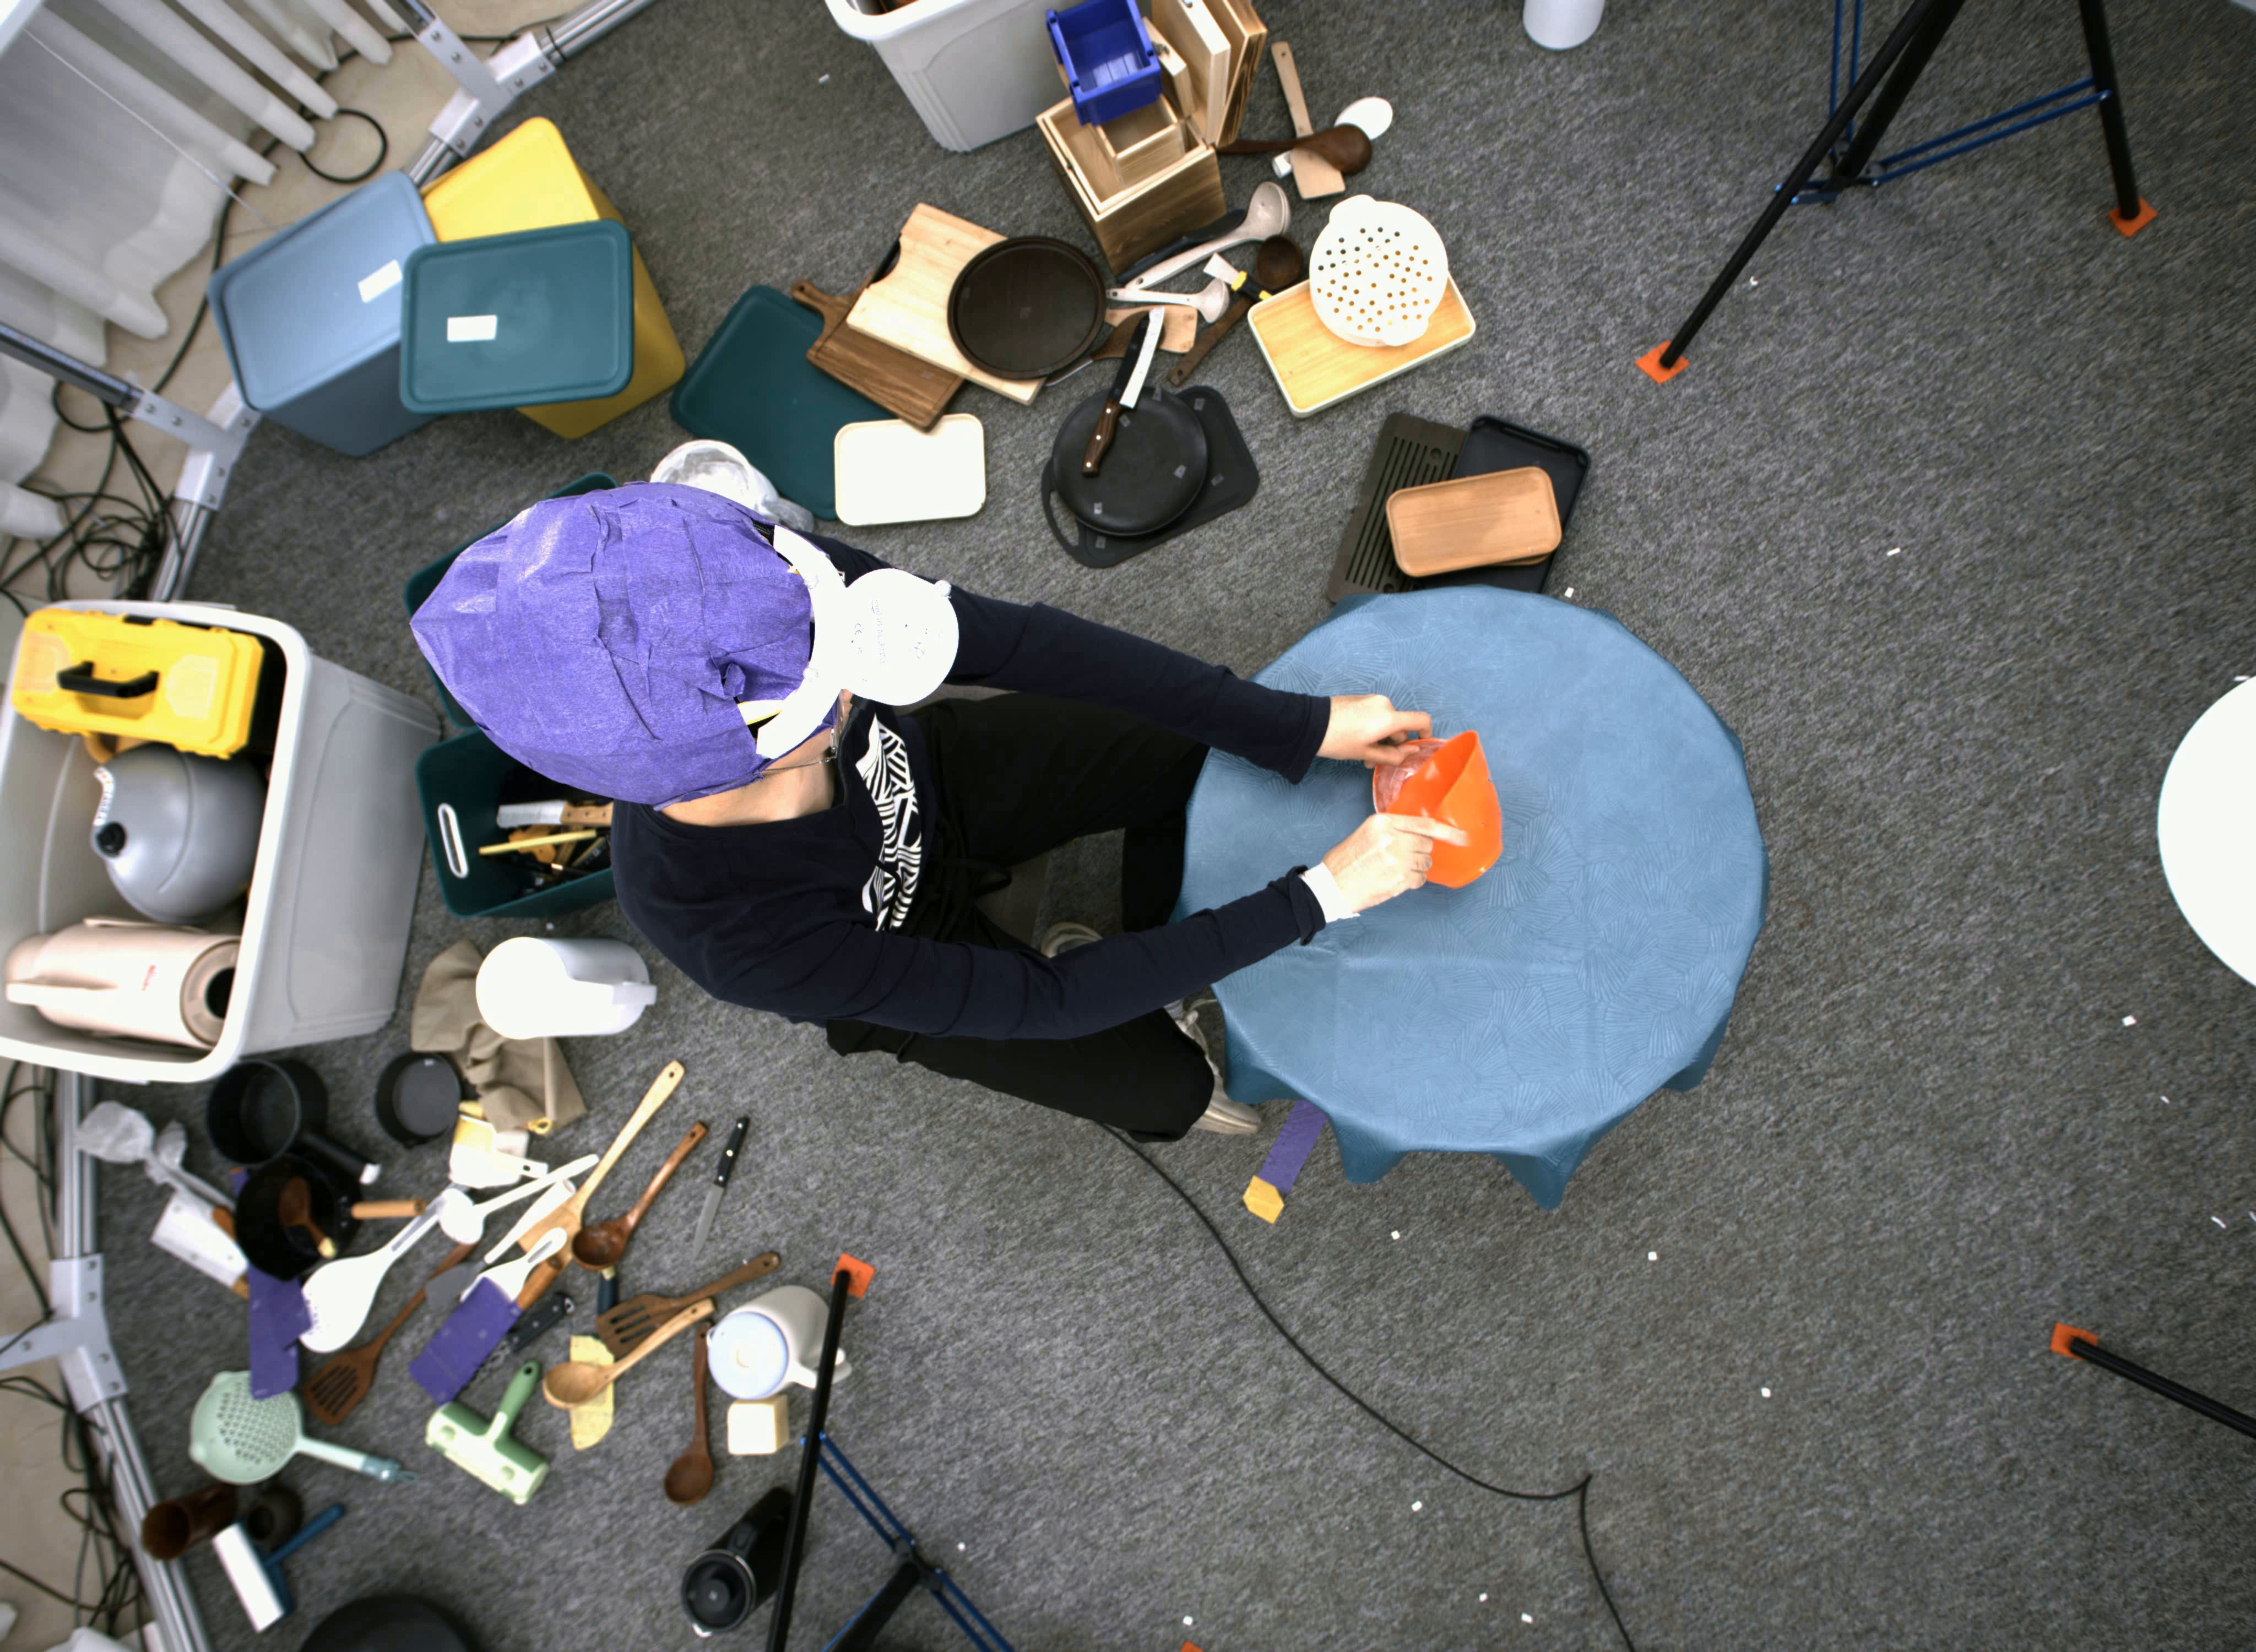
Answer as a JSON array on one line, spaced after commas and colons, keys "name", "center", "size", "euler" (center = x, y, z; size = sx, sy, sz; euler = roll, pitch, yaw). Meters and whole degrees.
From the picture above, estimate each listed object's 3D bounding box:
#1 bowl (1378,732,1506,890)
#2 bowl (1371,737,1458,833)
[{"name": "bowl", "center": [0.320, -0.005, 1.346], "size": [0.148, 0.147, 0.105], "euler": [-44, 97, 4]}, {"name": "bowl", "center": [0.309, -0.036, 1.434], "size": [0.119, 0.051, 0.118], "euler": [-1, 88, 12]}]
